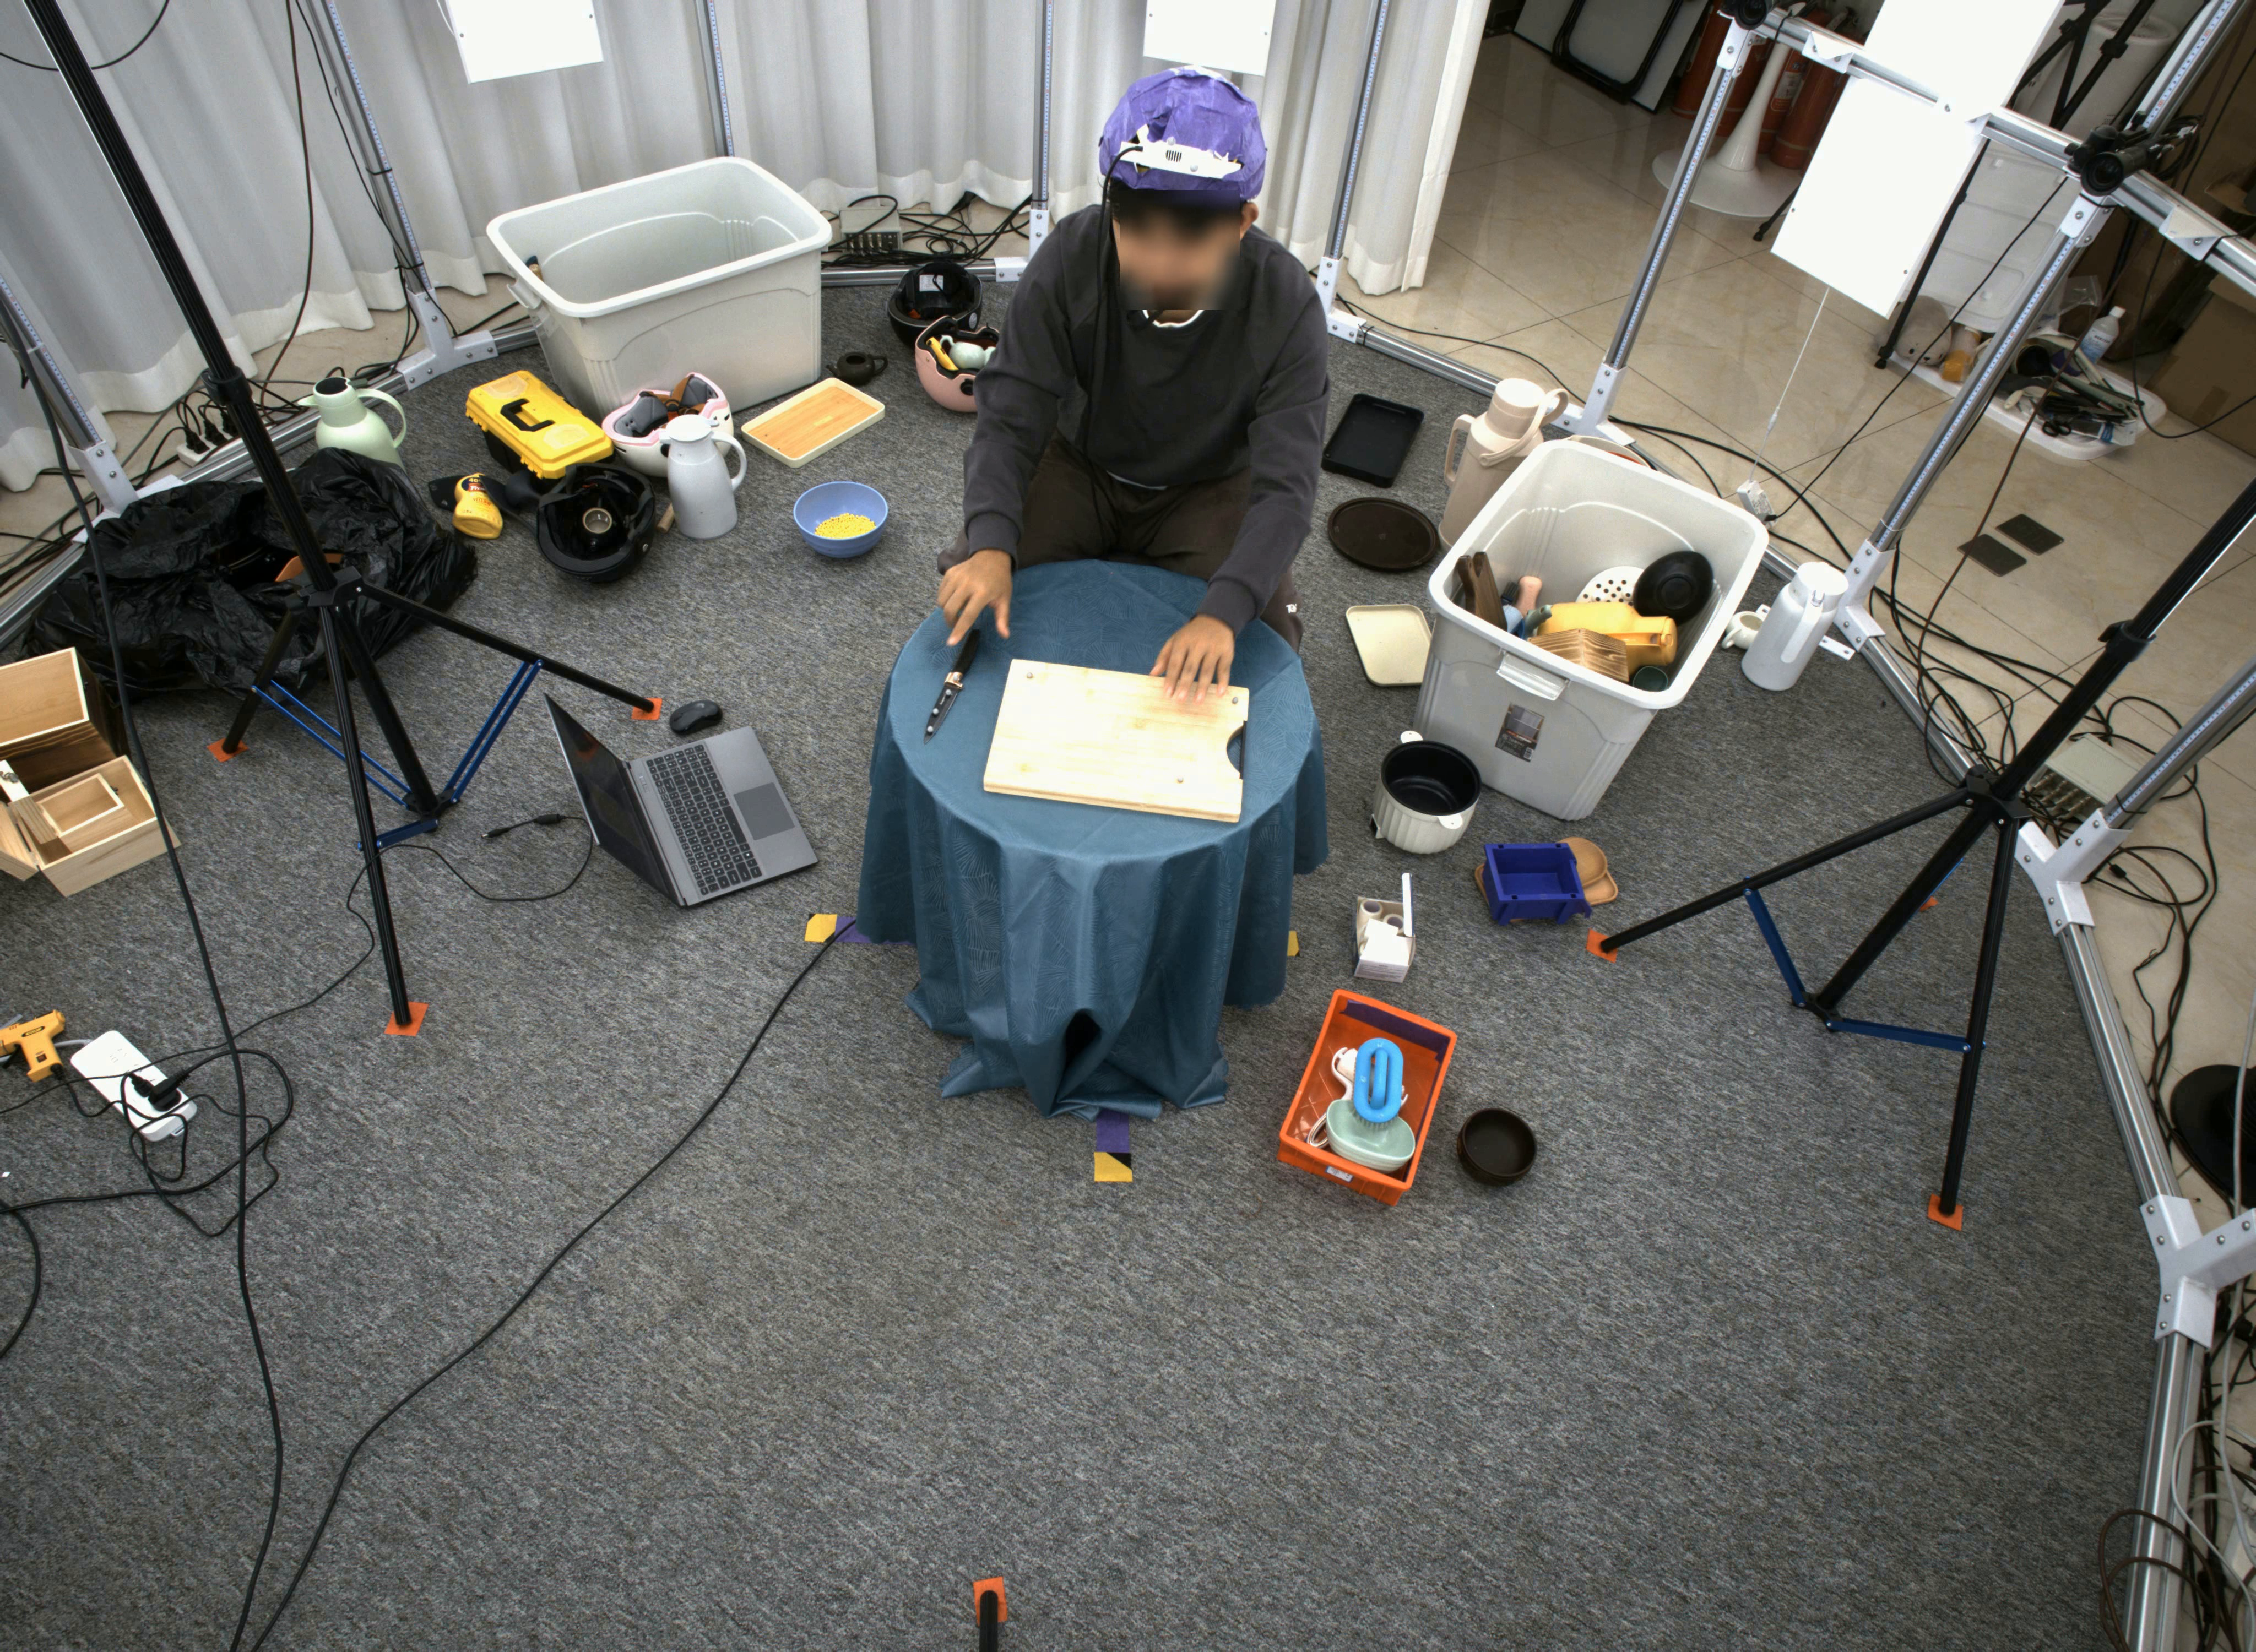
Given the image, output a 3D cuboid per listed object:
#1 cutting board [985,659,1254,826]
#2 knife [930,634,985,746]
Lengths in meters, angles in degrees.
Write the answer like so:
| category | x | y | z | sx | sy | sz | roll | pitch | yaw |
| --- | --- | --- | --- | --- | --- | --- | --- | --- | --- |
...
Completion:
| category | x | y | z | sx | sy | sz | roll | pitch | yaw |
| --- | --- | --- | --- | --- | --- | --- | --- | --- | --- |
| cutting board | -0.004 | -0.120 | 1.758 | 0.348 | 0.023 | 0.257 | 6 | 49 | 1 |
| knife | -0.243 | -0.194 | 1.809 | 0.026 | 0.017 | 0.230 | 17 | 50 | 2 |
